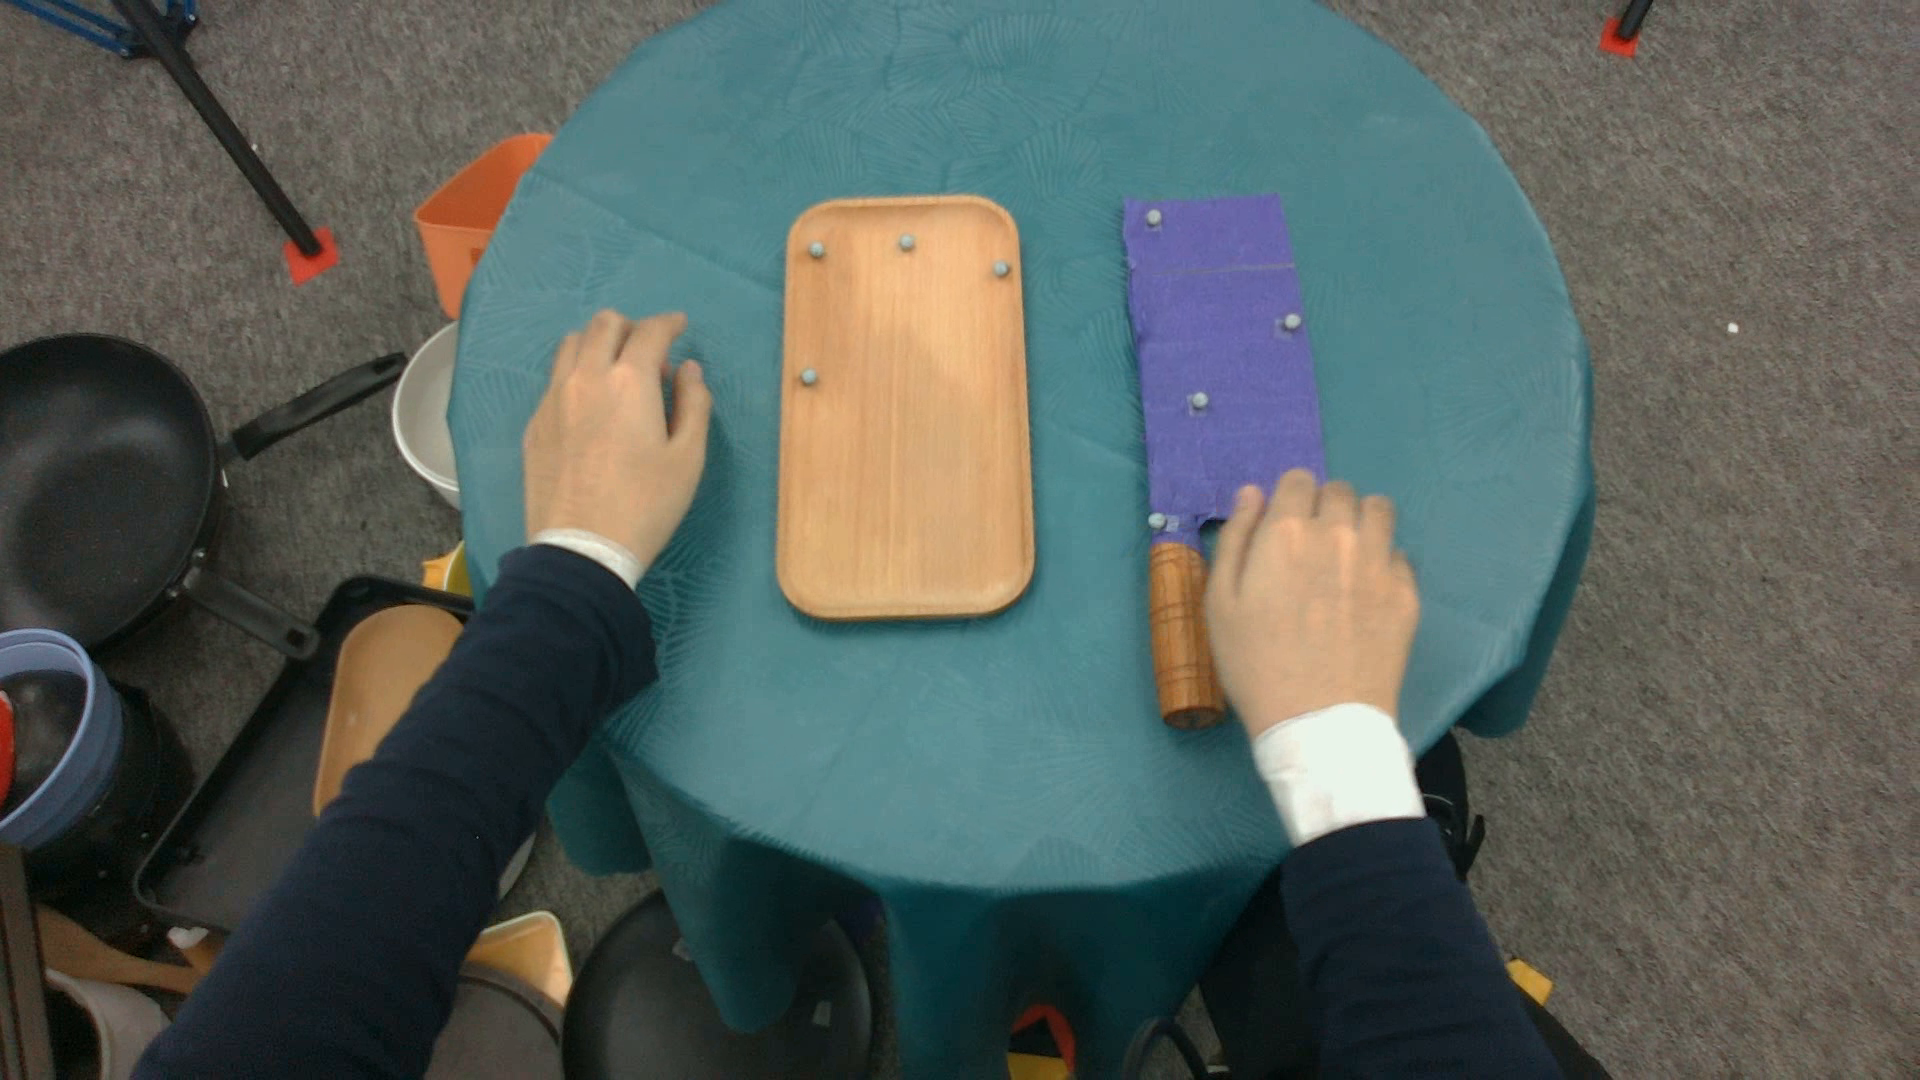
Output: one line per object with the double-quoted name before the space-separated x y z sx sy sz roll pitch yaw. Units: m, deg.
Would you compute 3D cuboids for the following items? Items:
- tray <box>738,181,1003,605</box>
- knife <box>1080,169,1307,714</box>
"tray" -0.043 -0.082 0.713 0.130 0.023 0.251 0 66 2
"knife" 0.125 -0.067 0.700 0.104 0.032 0.316 -3 64 -1
